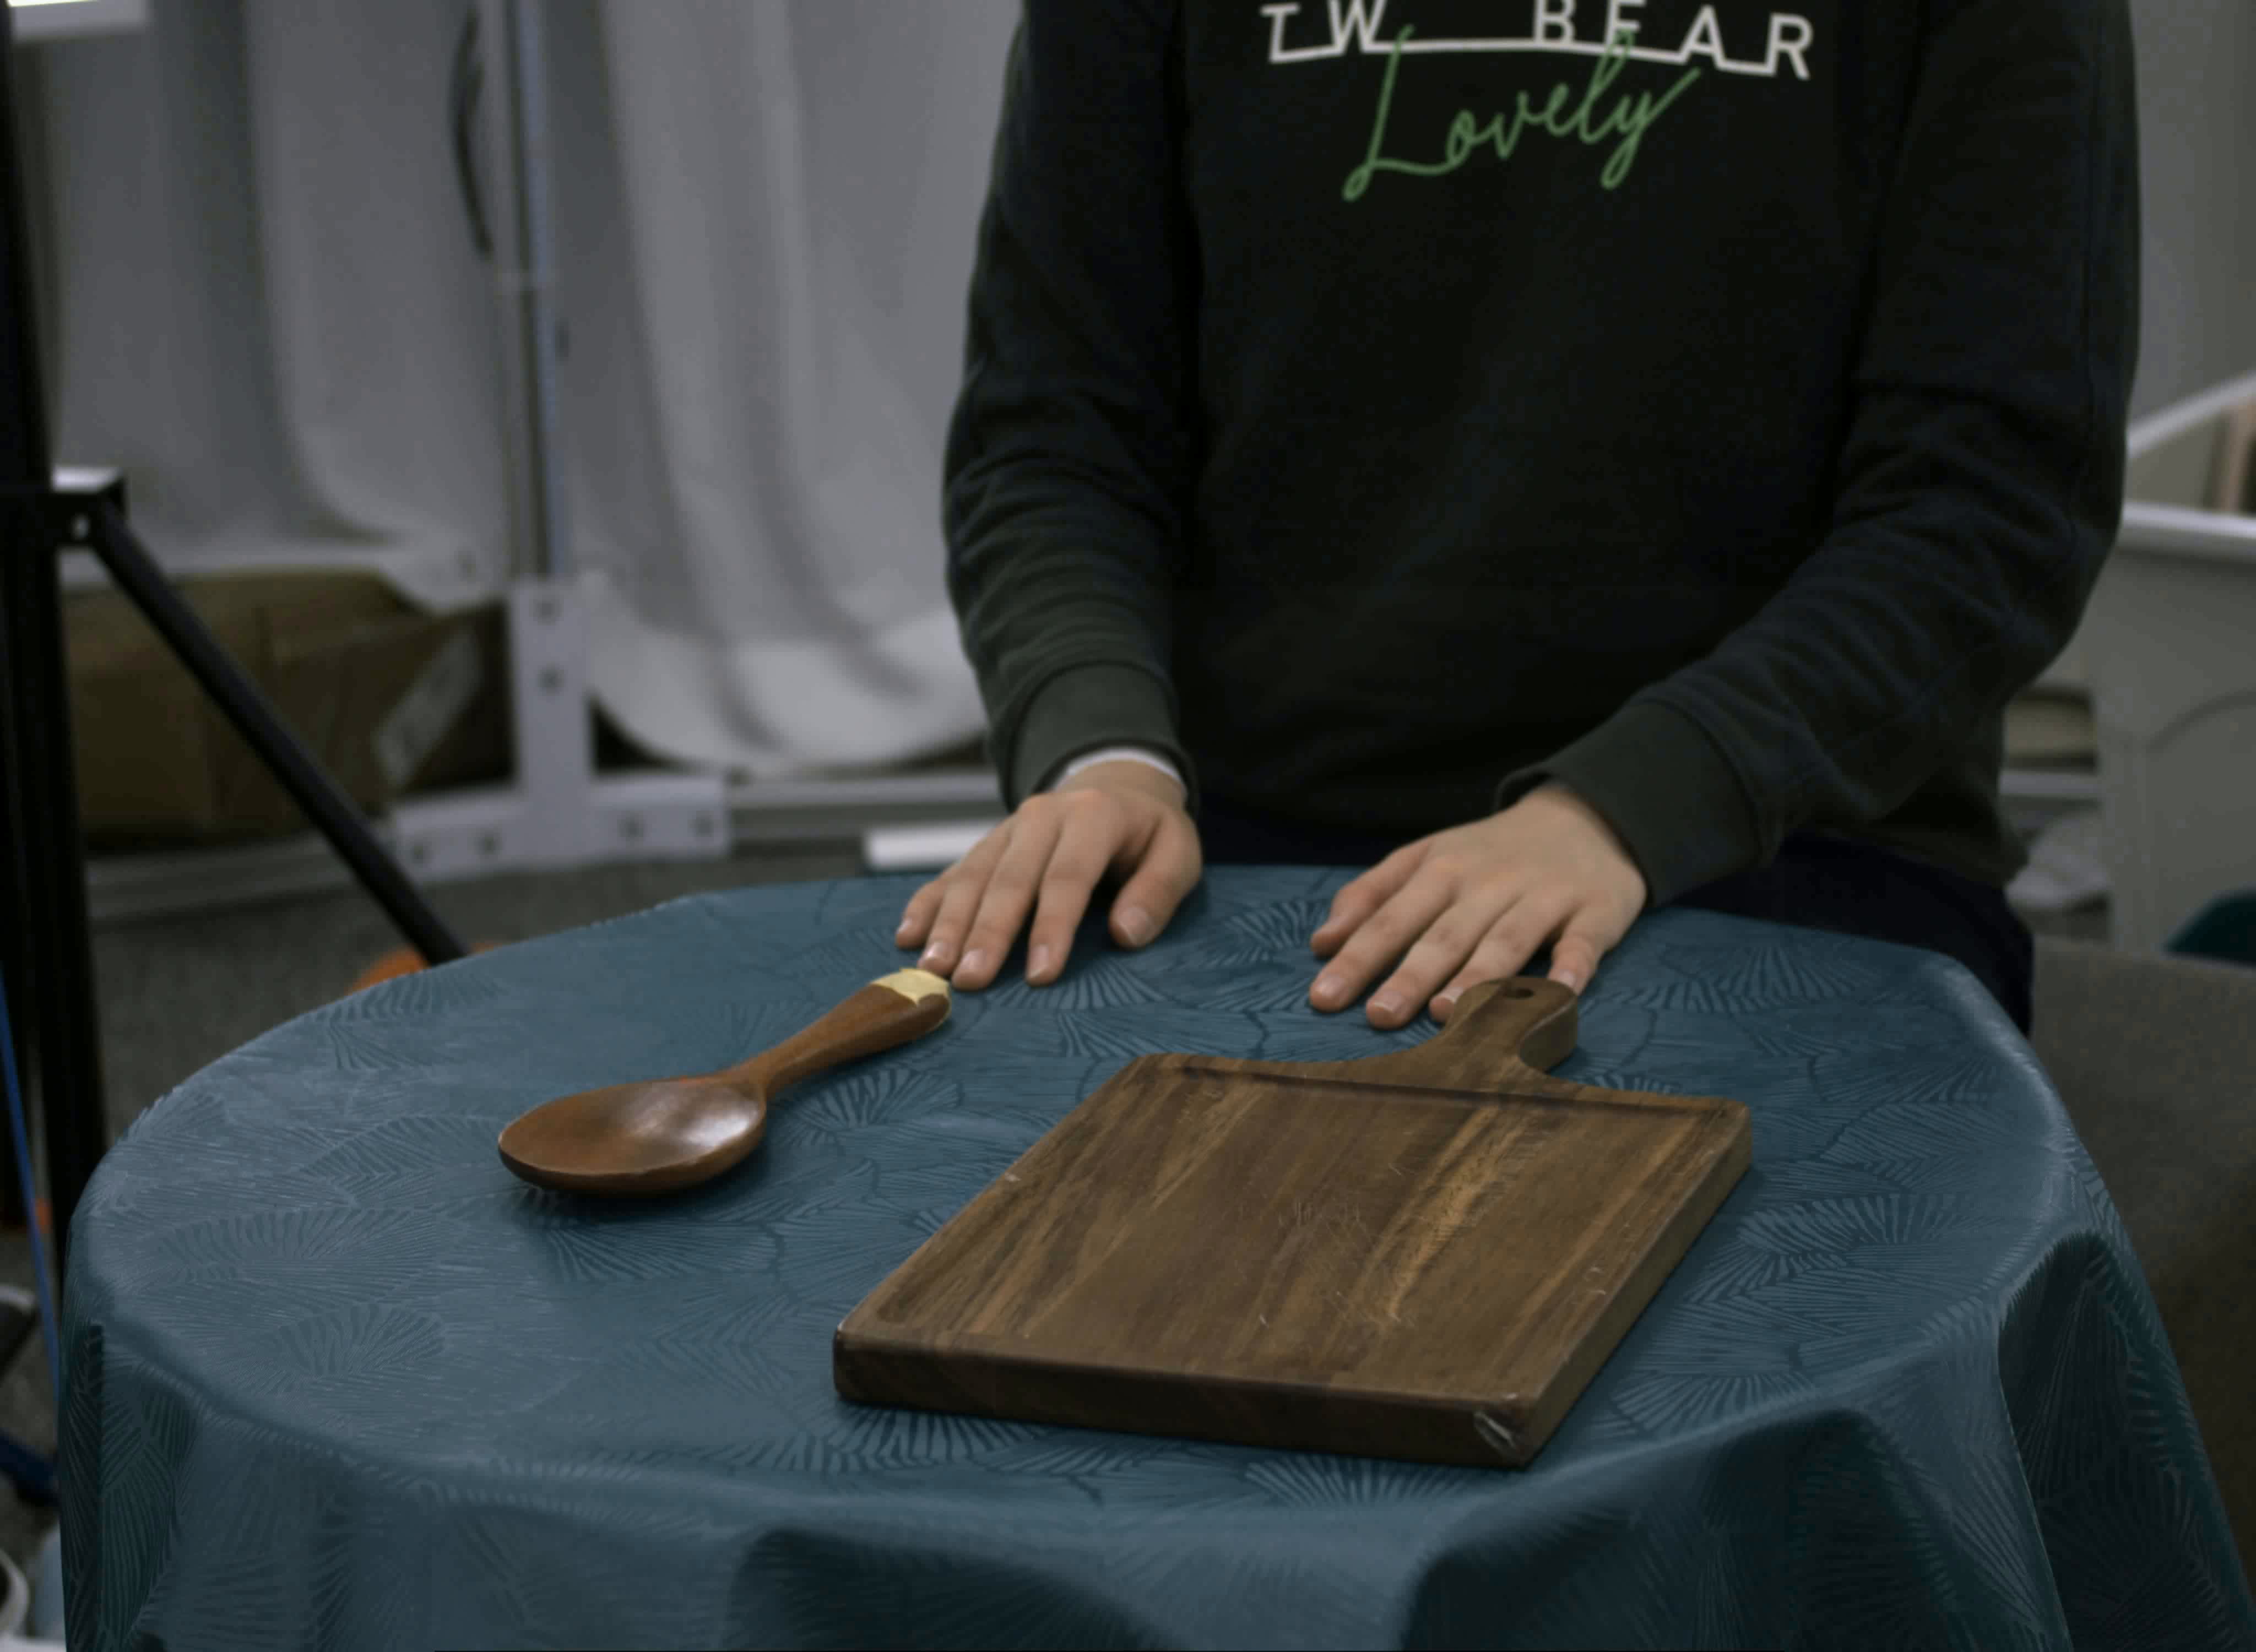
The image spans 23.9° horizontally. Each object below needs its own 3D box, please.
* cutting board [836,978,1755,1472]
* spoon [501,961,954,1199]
[{"bbox_3d":[0.070,0.105,1.524,0.203,0.023,0.348,3,16,21],"label":"cutting board"},{"bbox_3d":[-0.115,0.080,1.645,0.077,0.017,0.212,5,18,30],"label":"spoon"}]
